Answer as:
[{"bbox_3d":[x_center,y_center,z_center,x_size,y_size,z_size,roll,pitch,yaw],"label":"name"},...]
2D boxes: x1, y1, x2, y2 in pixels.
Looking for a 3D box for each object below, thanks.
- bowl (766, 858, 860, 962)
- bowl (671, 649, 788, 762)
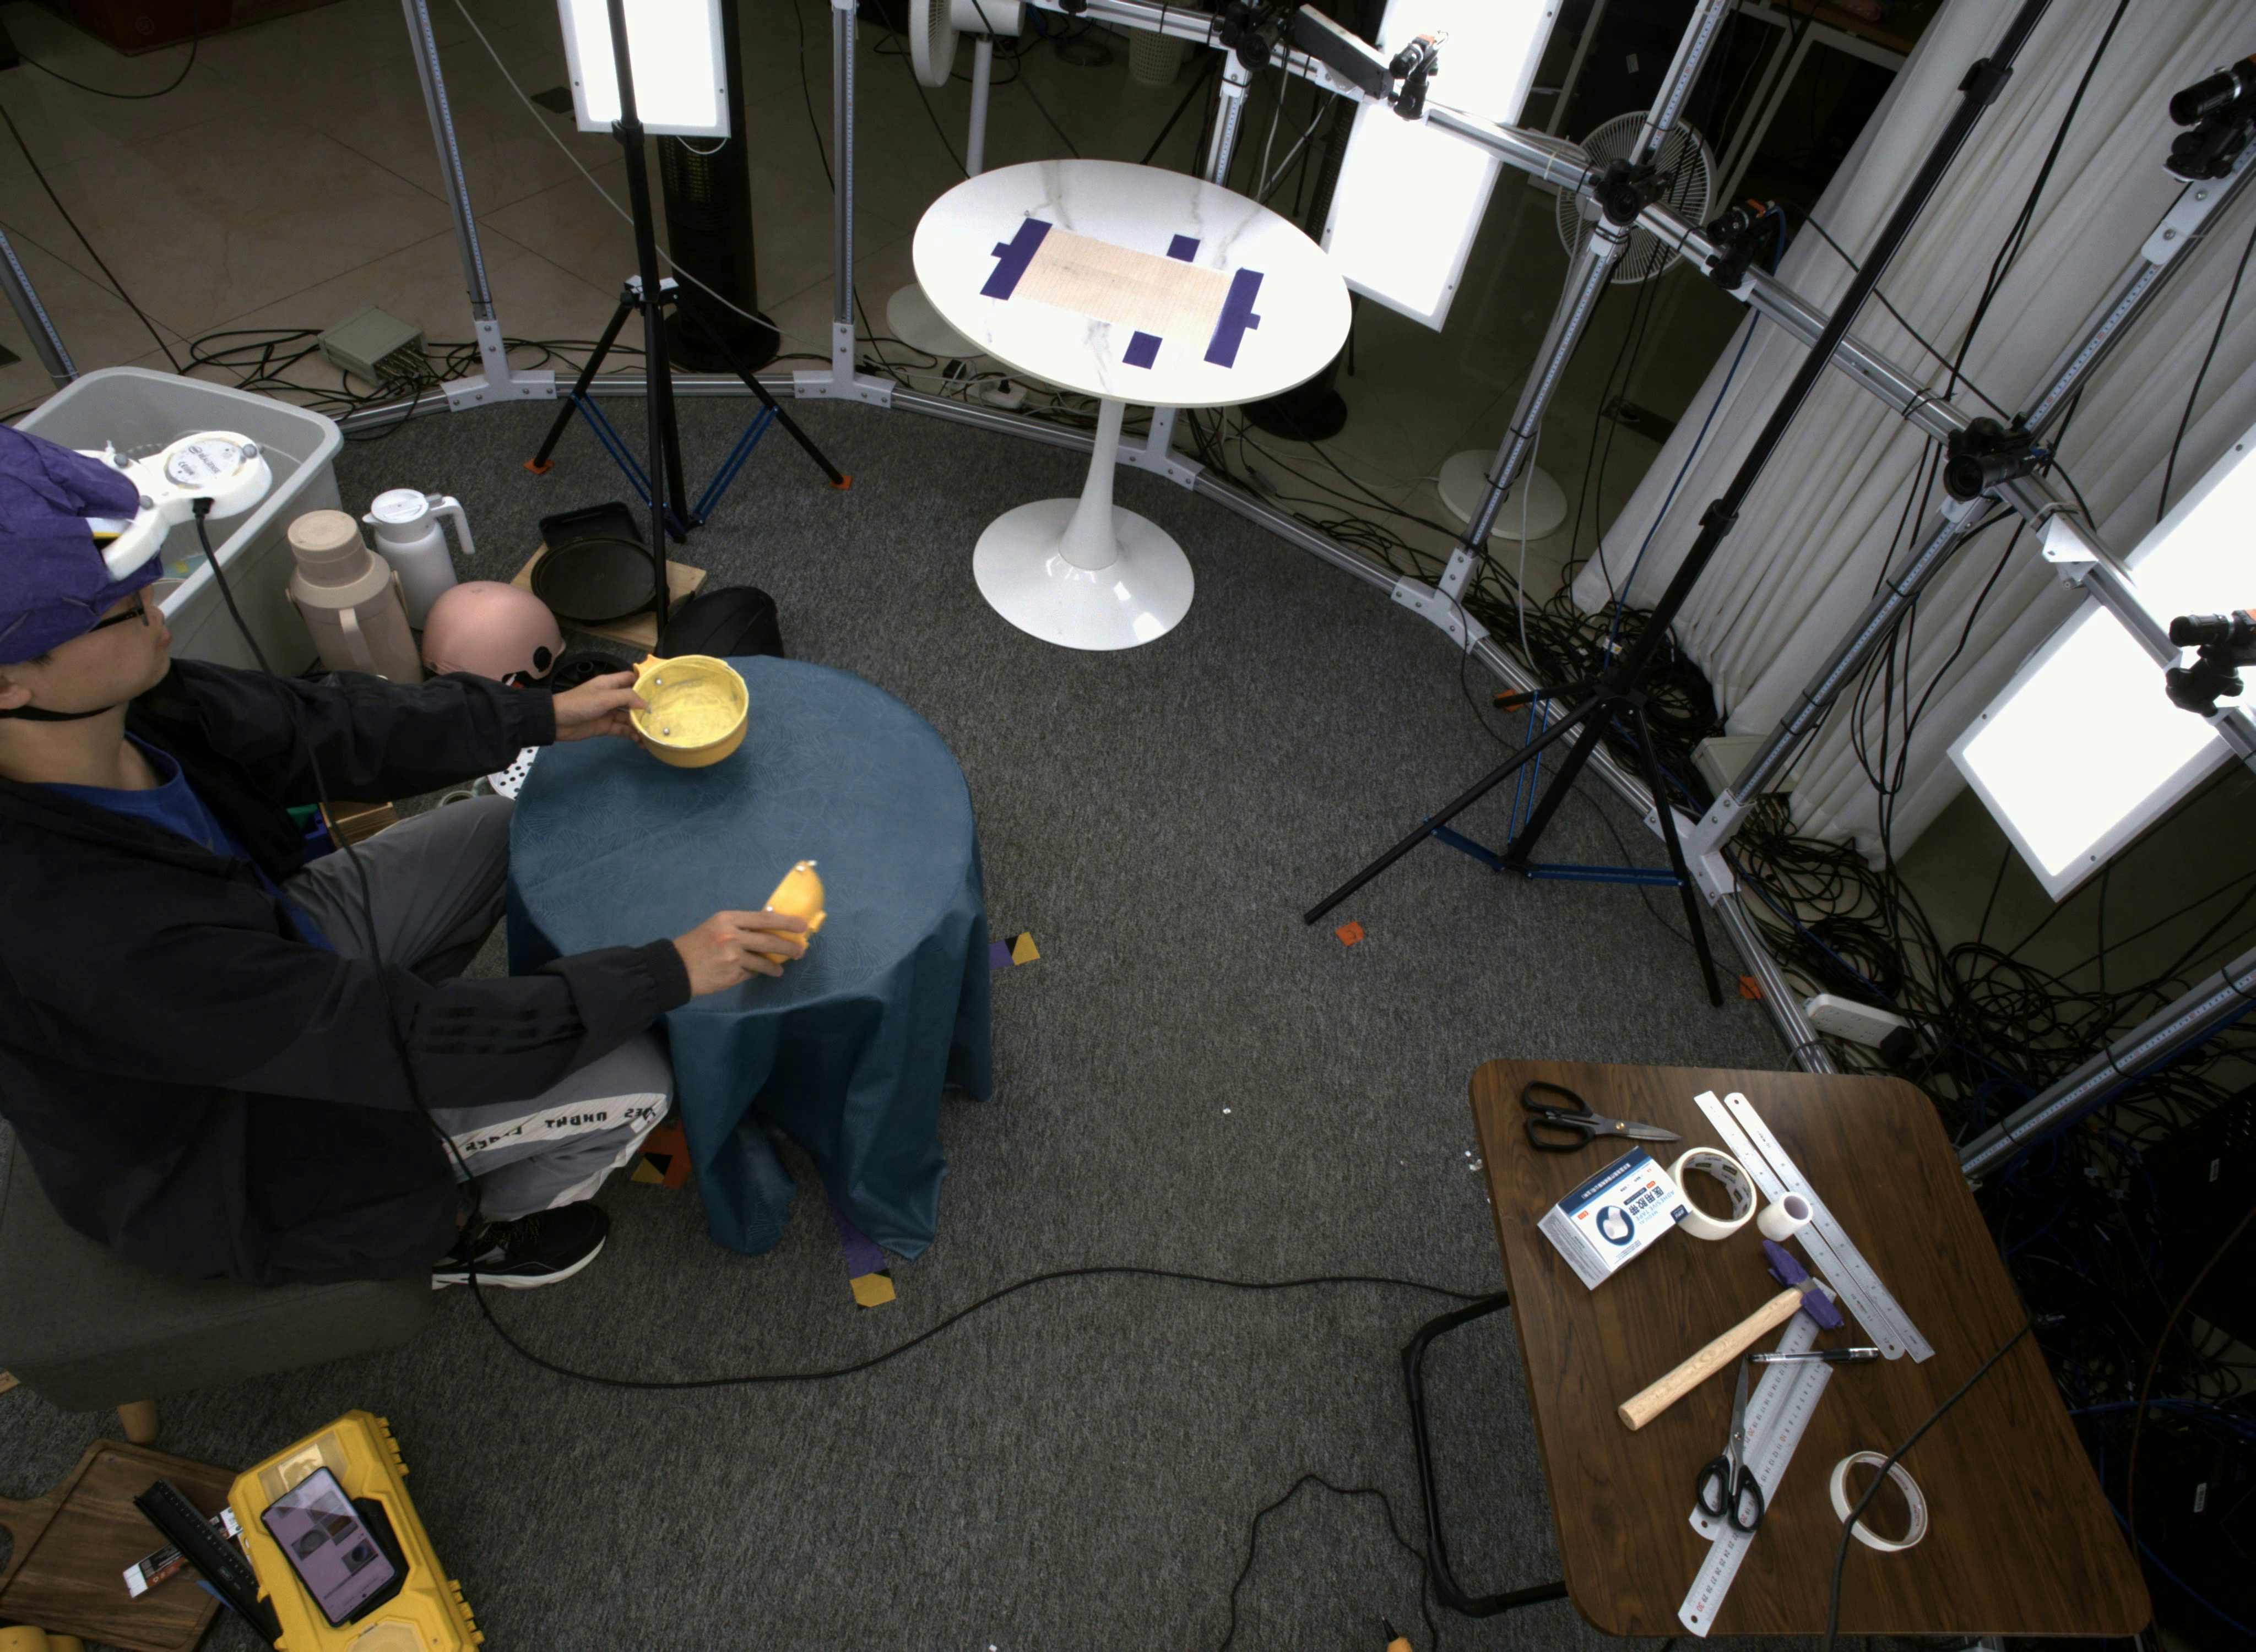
[{"bbox_3d":[-0.366,0.111,1.560,0.060,0.145,0.144,37,52,-3],"label":"bowl"},{"bbox_3d":[-0.540,-0.165,1.730,0.176,0.075,0.153,38,59,11],"label":"bowl"}]
